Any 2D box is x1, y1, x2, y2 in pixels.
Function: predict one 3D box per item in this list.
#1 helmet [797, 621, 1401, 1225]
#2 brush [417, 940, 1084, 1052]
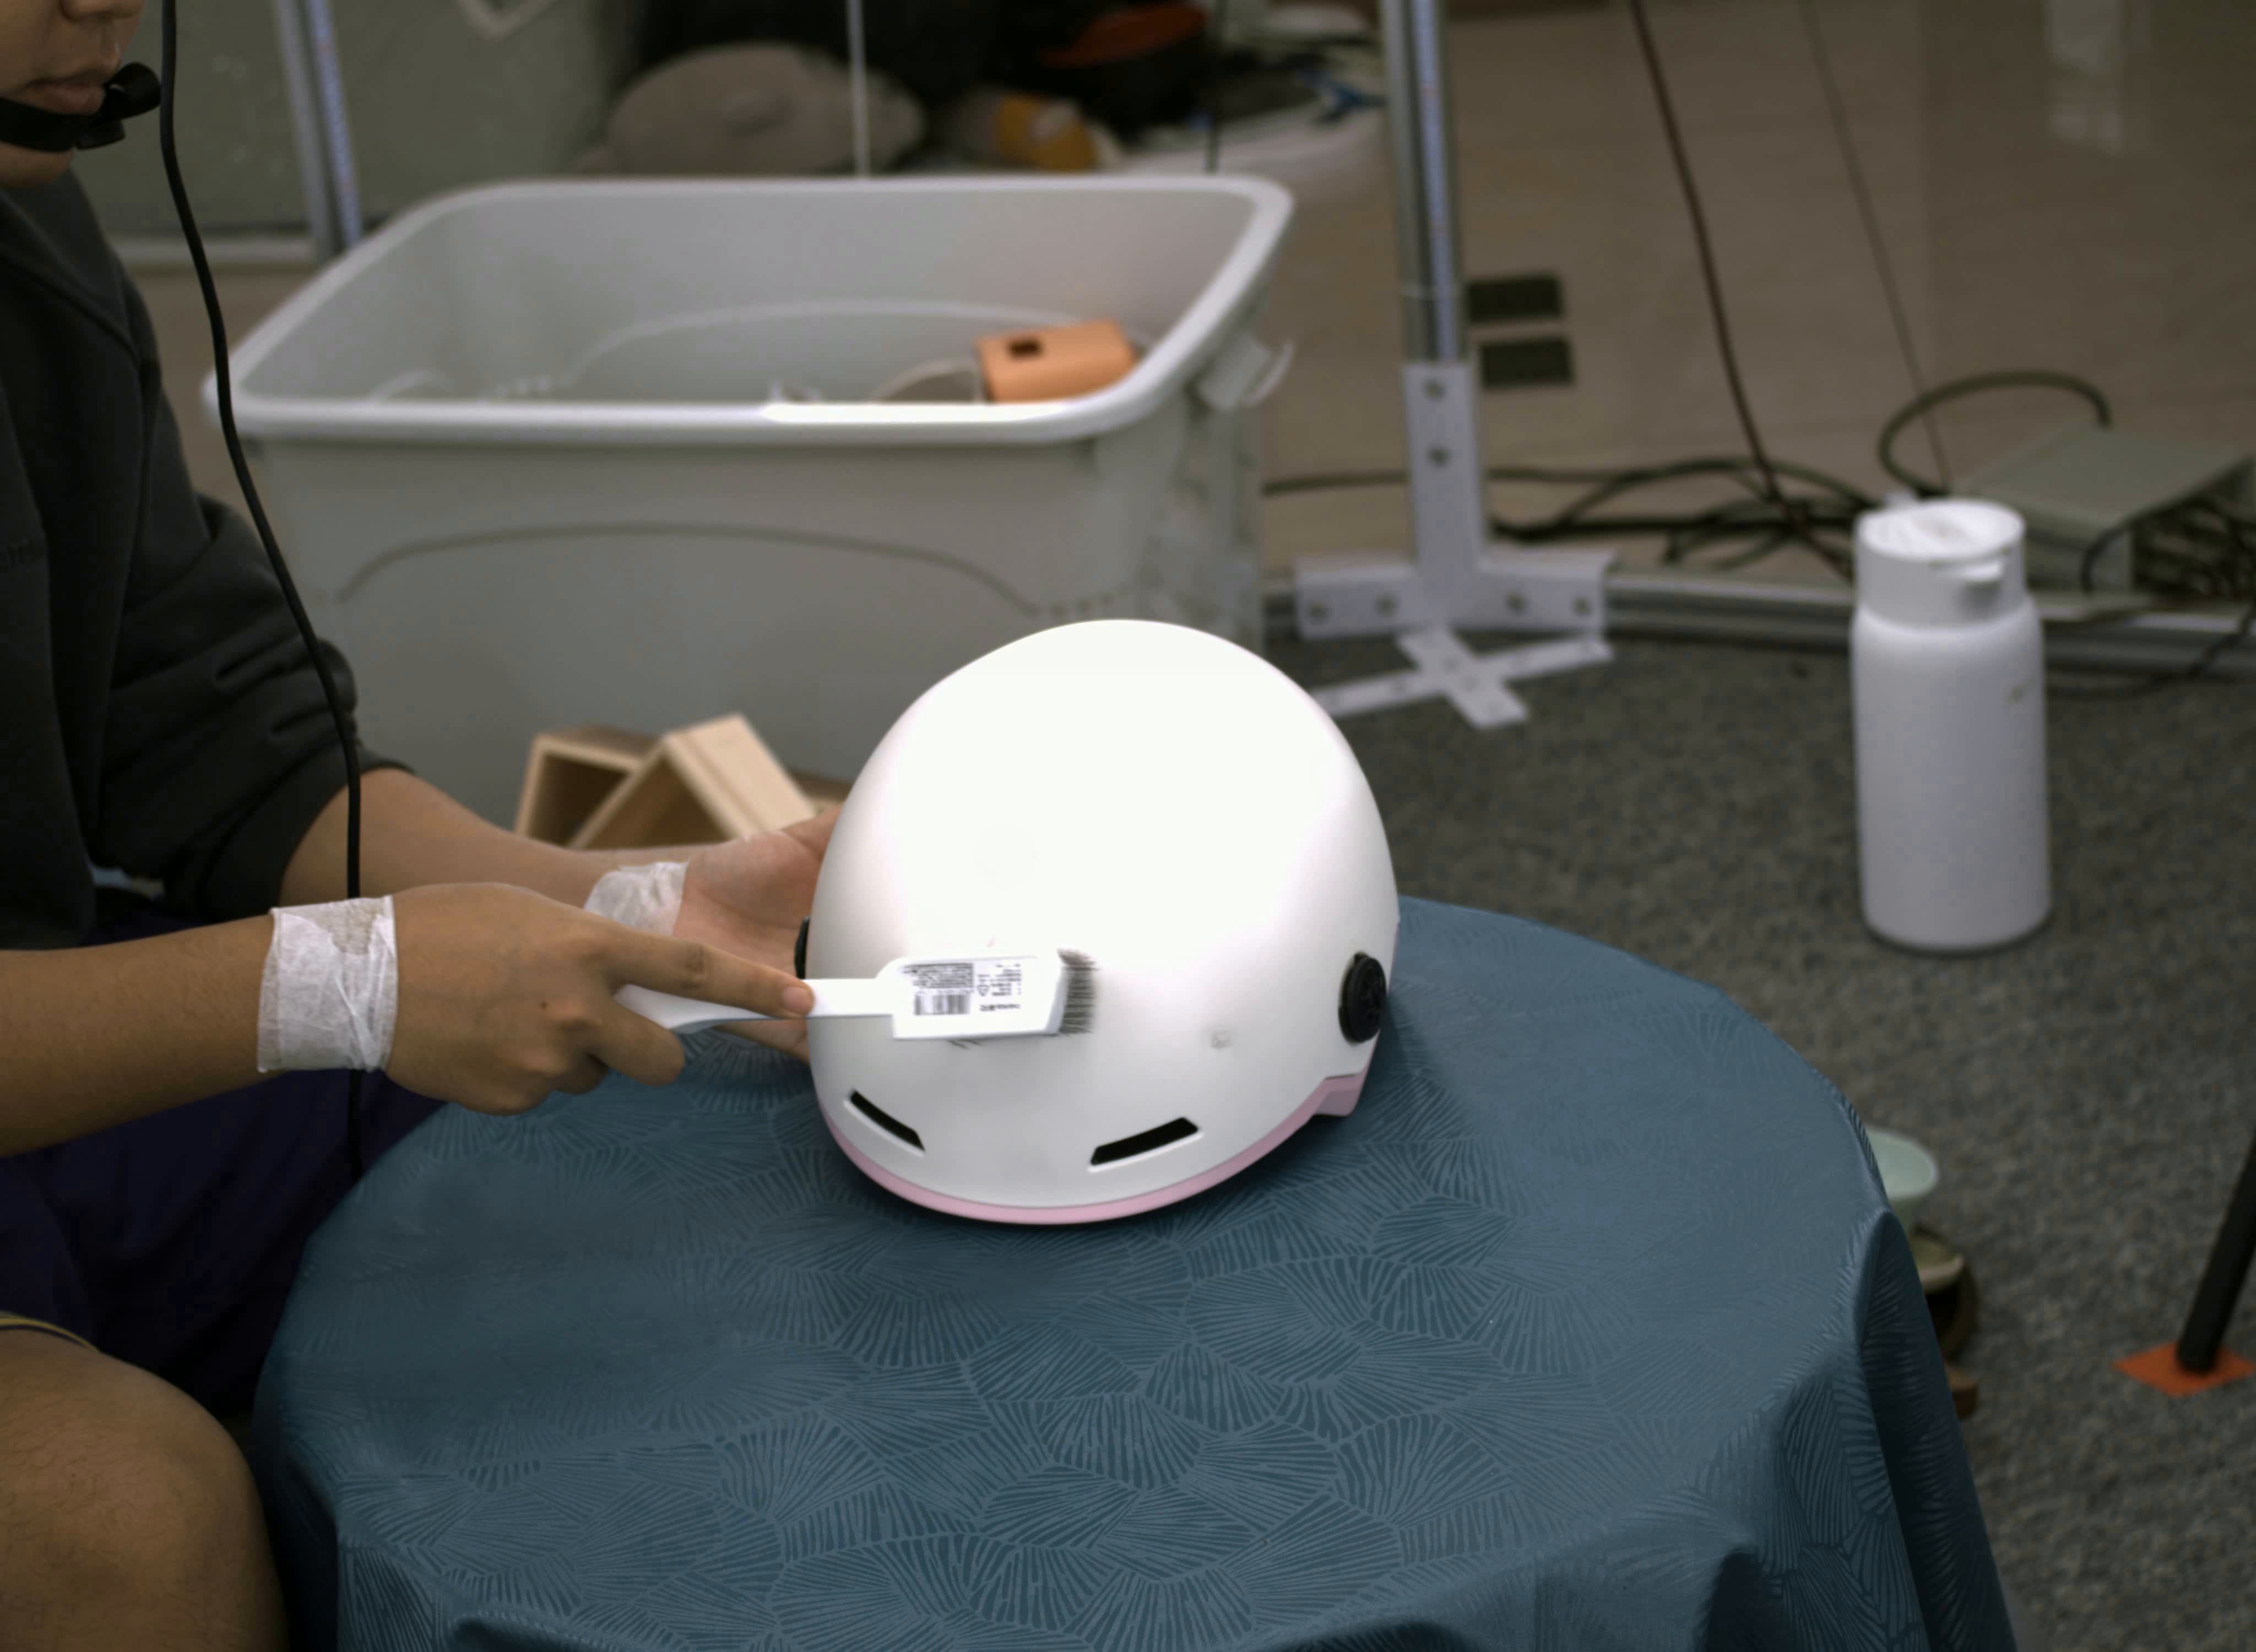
[{"bbox_3d":[-0.010,0.020,2.199,0.236,0.170,0.265,6,28,18],"label":"helmet"},{"bbox_3d":[-0.138,0.066,2.081,0.243,0.034,0.050,-4,-6,5],"label":"brush"}]
